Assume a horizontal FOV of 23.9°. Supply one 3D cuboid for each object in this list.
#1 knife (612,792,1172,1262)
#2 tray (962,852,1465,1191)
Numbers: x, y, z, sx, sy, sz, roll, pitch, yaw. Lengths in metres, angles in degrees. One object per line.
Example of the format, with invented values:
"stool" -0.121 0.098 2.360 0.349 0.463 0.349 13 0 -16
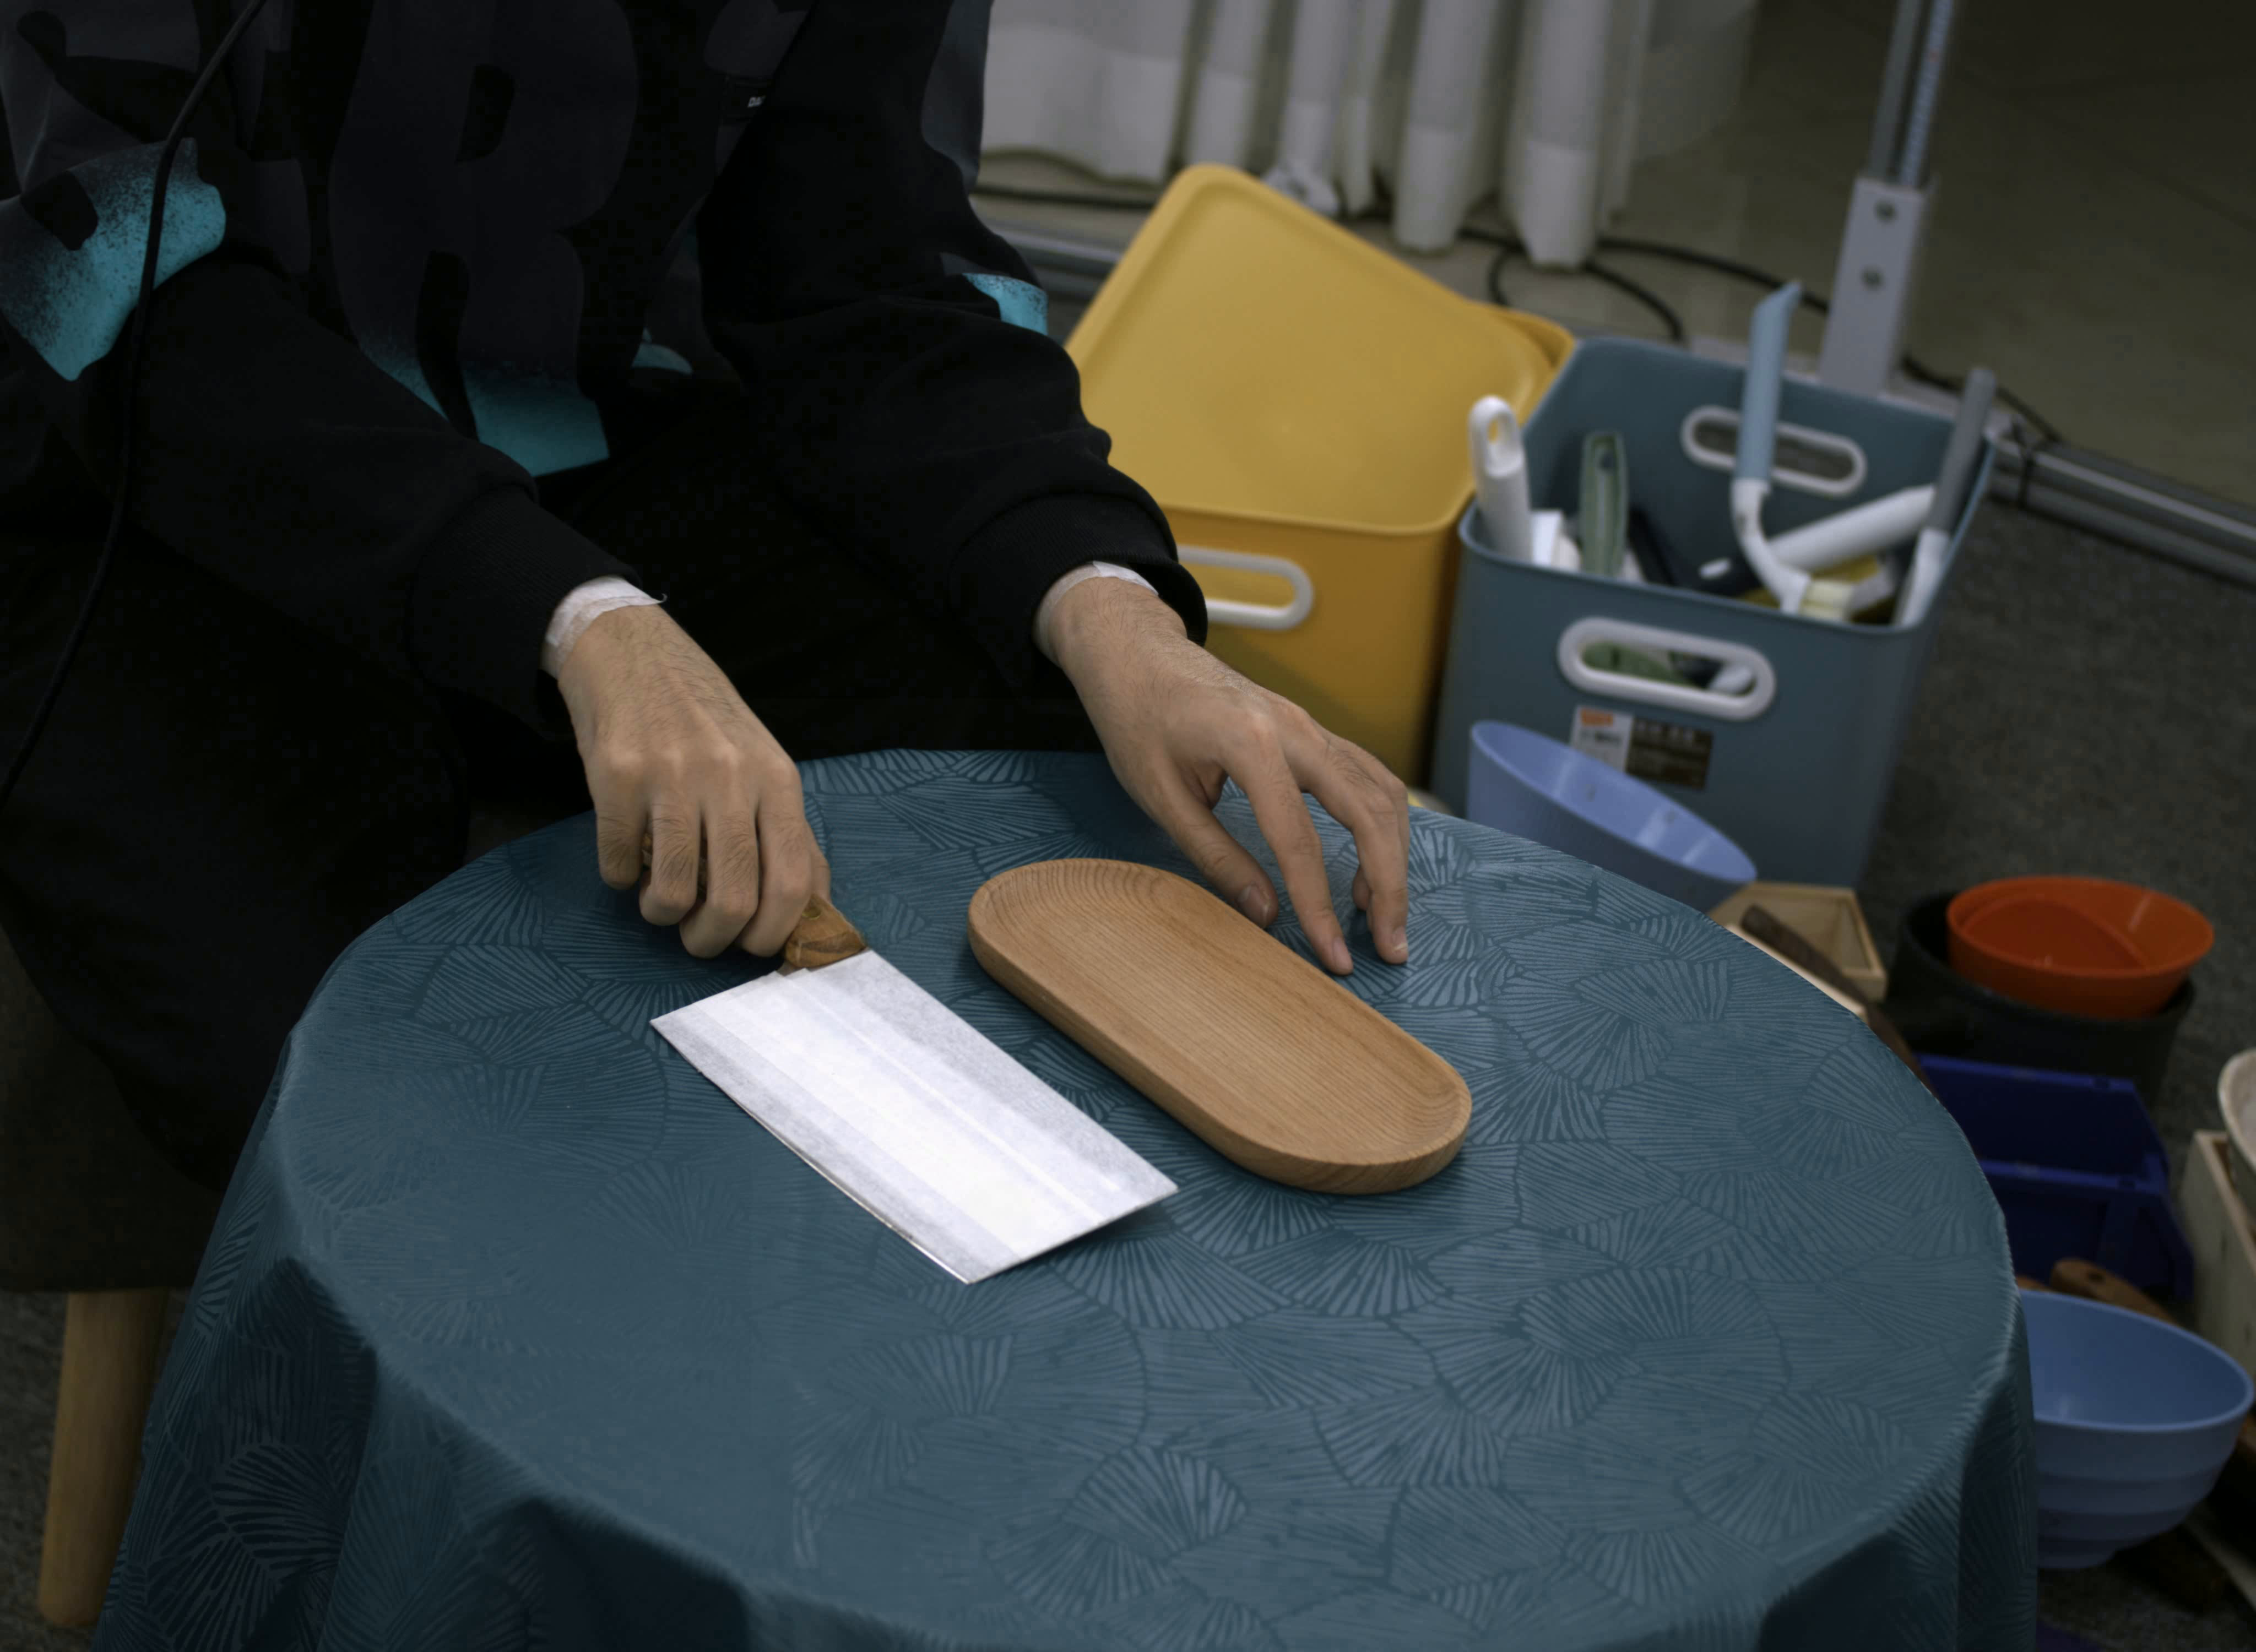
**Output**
"knife" -0.108 0.070 1.865 0.092 0.021 0.308 -22 39 -30
"tray" 0.028 0.068 1.899 0.101 0.020 0.233 -13 32 -35
